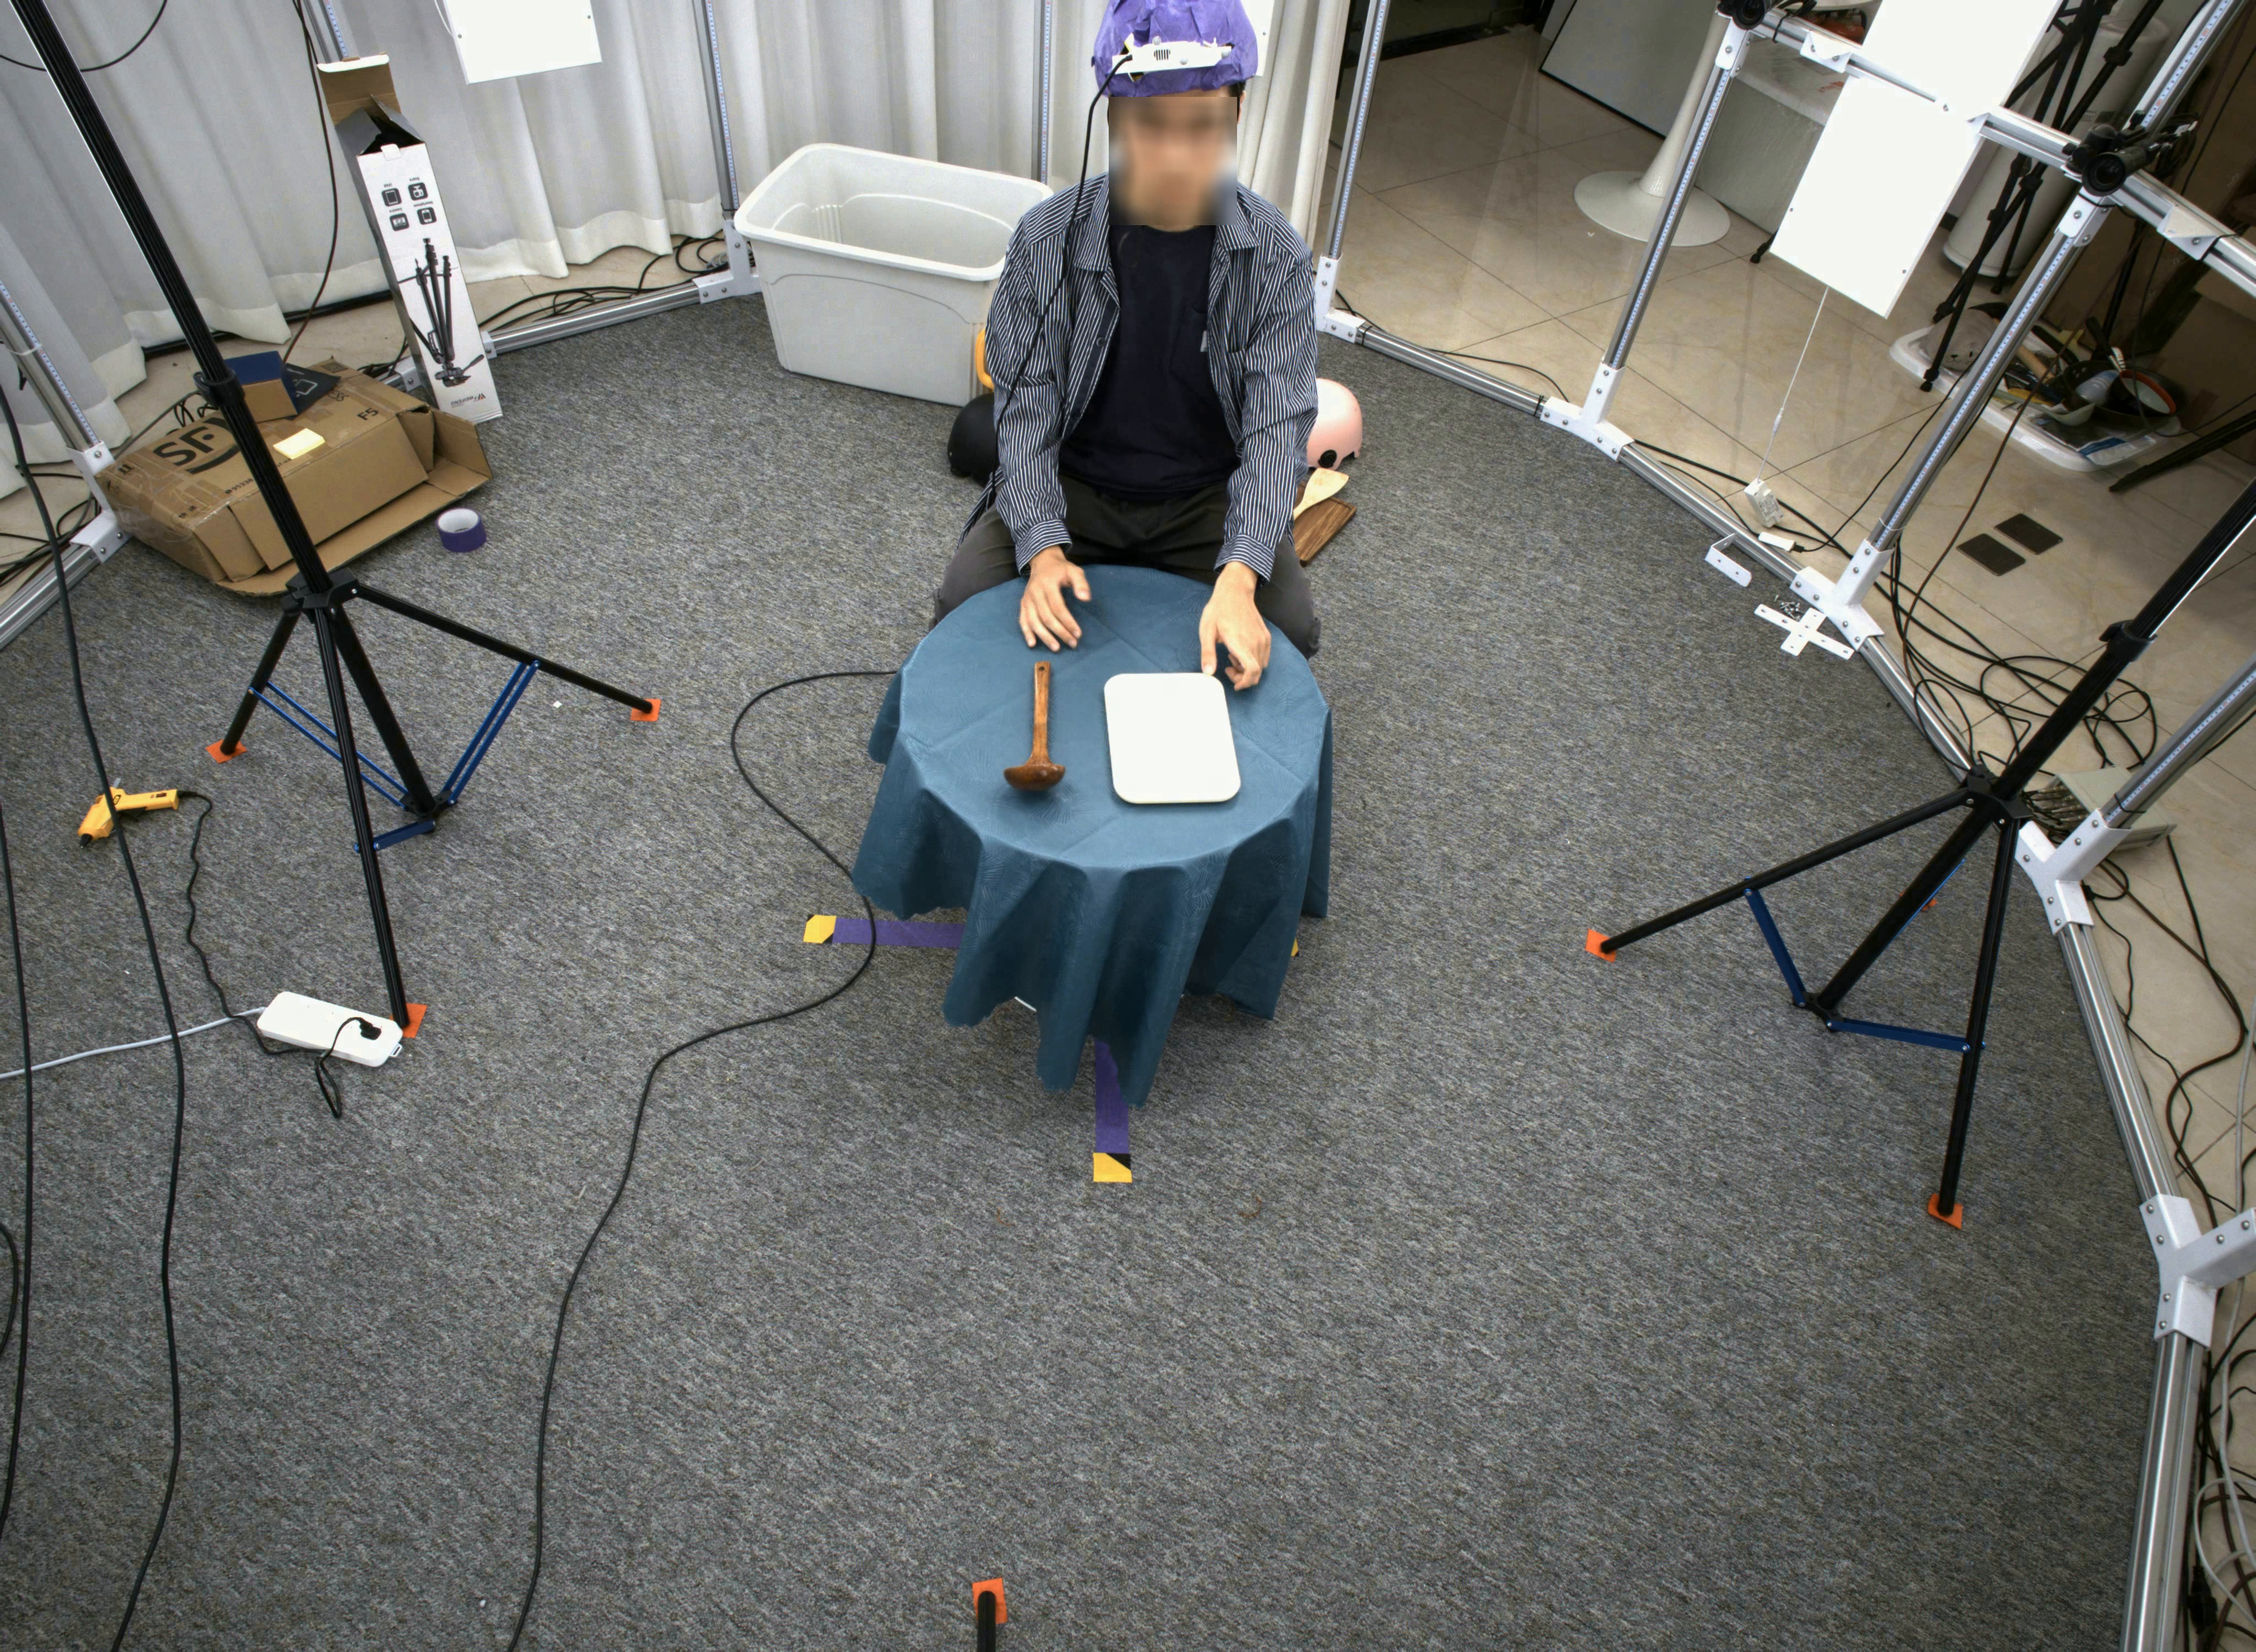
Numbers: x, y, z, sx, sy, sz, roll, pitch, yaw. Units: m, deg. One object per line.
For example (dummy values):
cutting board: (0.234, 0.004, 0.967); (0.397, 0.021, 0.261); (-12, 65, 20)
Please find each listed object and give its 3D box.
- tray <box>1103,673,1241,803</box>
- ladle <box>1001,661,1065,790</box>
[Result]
tray: (0.058, -0.122, 1.758); (0.171, 0.017, 0.246); (-1, 49, -6)
ladle: (-0.121, -0.151, 1.729); (0.082, 0.075, 0.281); (1, 49, 1)
